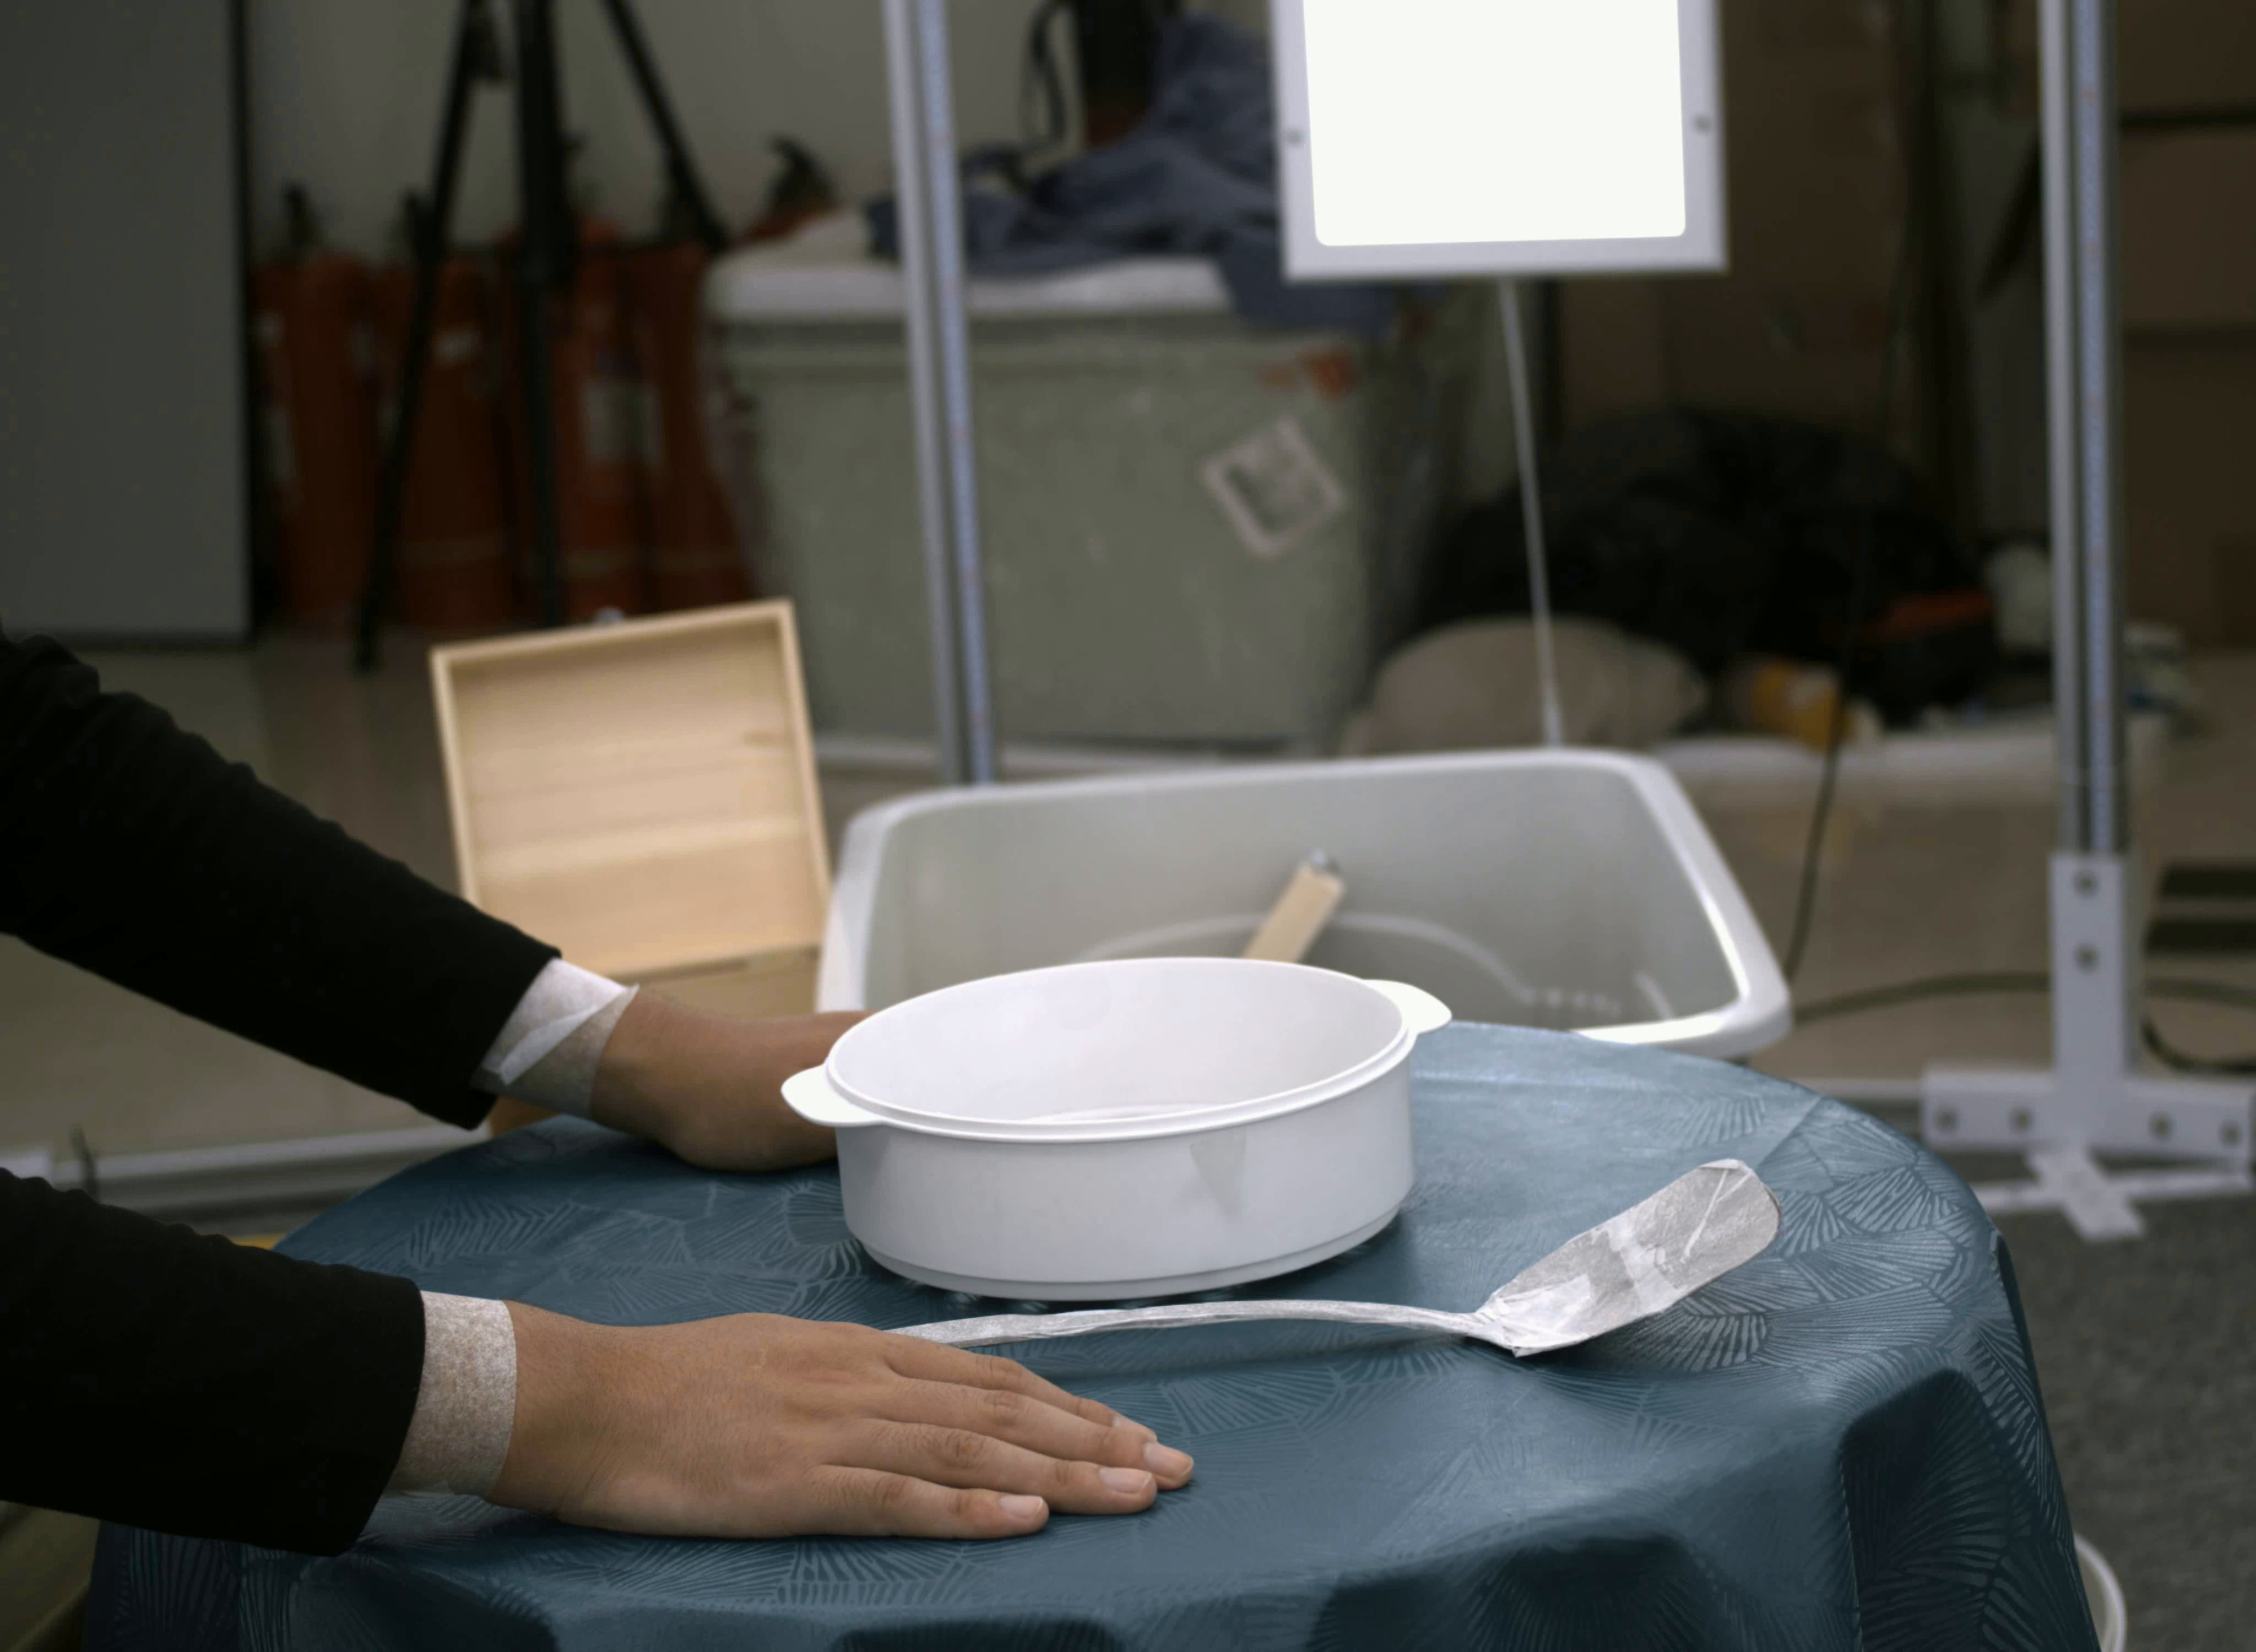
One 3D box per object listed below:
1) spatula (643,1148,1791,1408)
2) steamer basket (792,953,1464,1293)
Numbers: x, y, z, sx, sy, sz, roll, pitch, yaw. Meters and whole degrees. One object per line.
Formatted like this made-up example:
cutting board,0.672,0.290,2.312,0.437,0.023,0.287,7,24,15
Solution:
spatula,0.027,0.148,1.721,0.364,0.045,0.098,-5,16,1
steamer basket,0.004,0.100,1.856,0.227,0.069,0.204,-9,13,-14
